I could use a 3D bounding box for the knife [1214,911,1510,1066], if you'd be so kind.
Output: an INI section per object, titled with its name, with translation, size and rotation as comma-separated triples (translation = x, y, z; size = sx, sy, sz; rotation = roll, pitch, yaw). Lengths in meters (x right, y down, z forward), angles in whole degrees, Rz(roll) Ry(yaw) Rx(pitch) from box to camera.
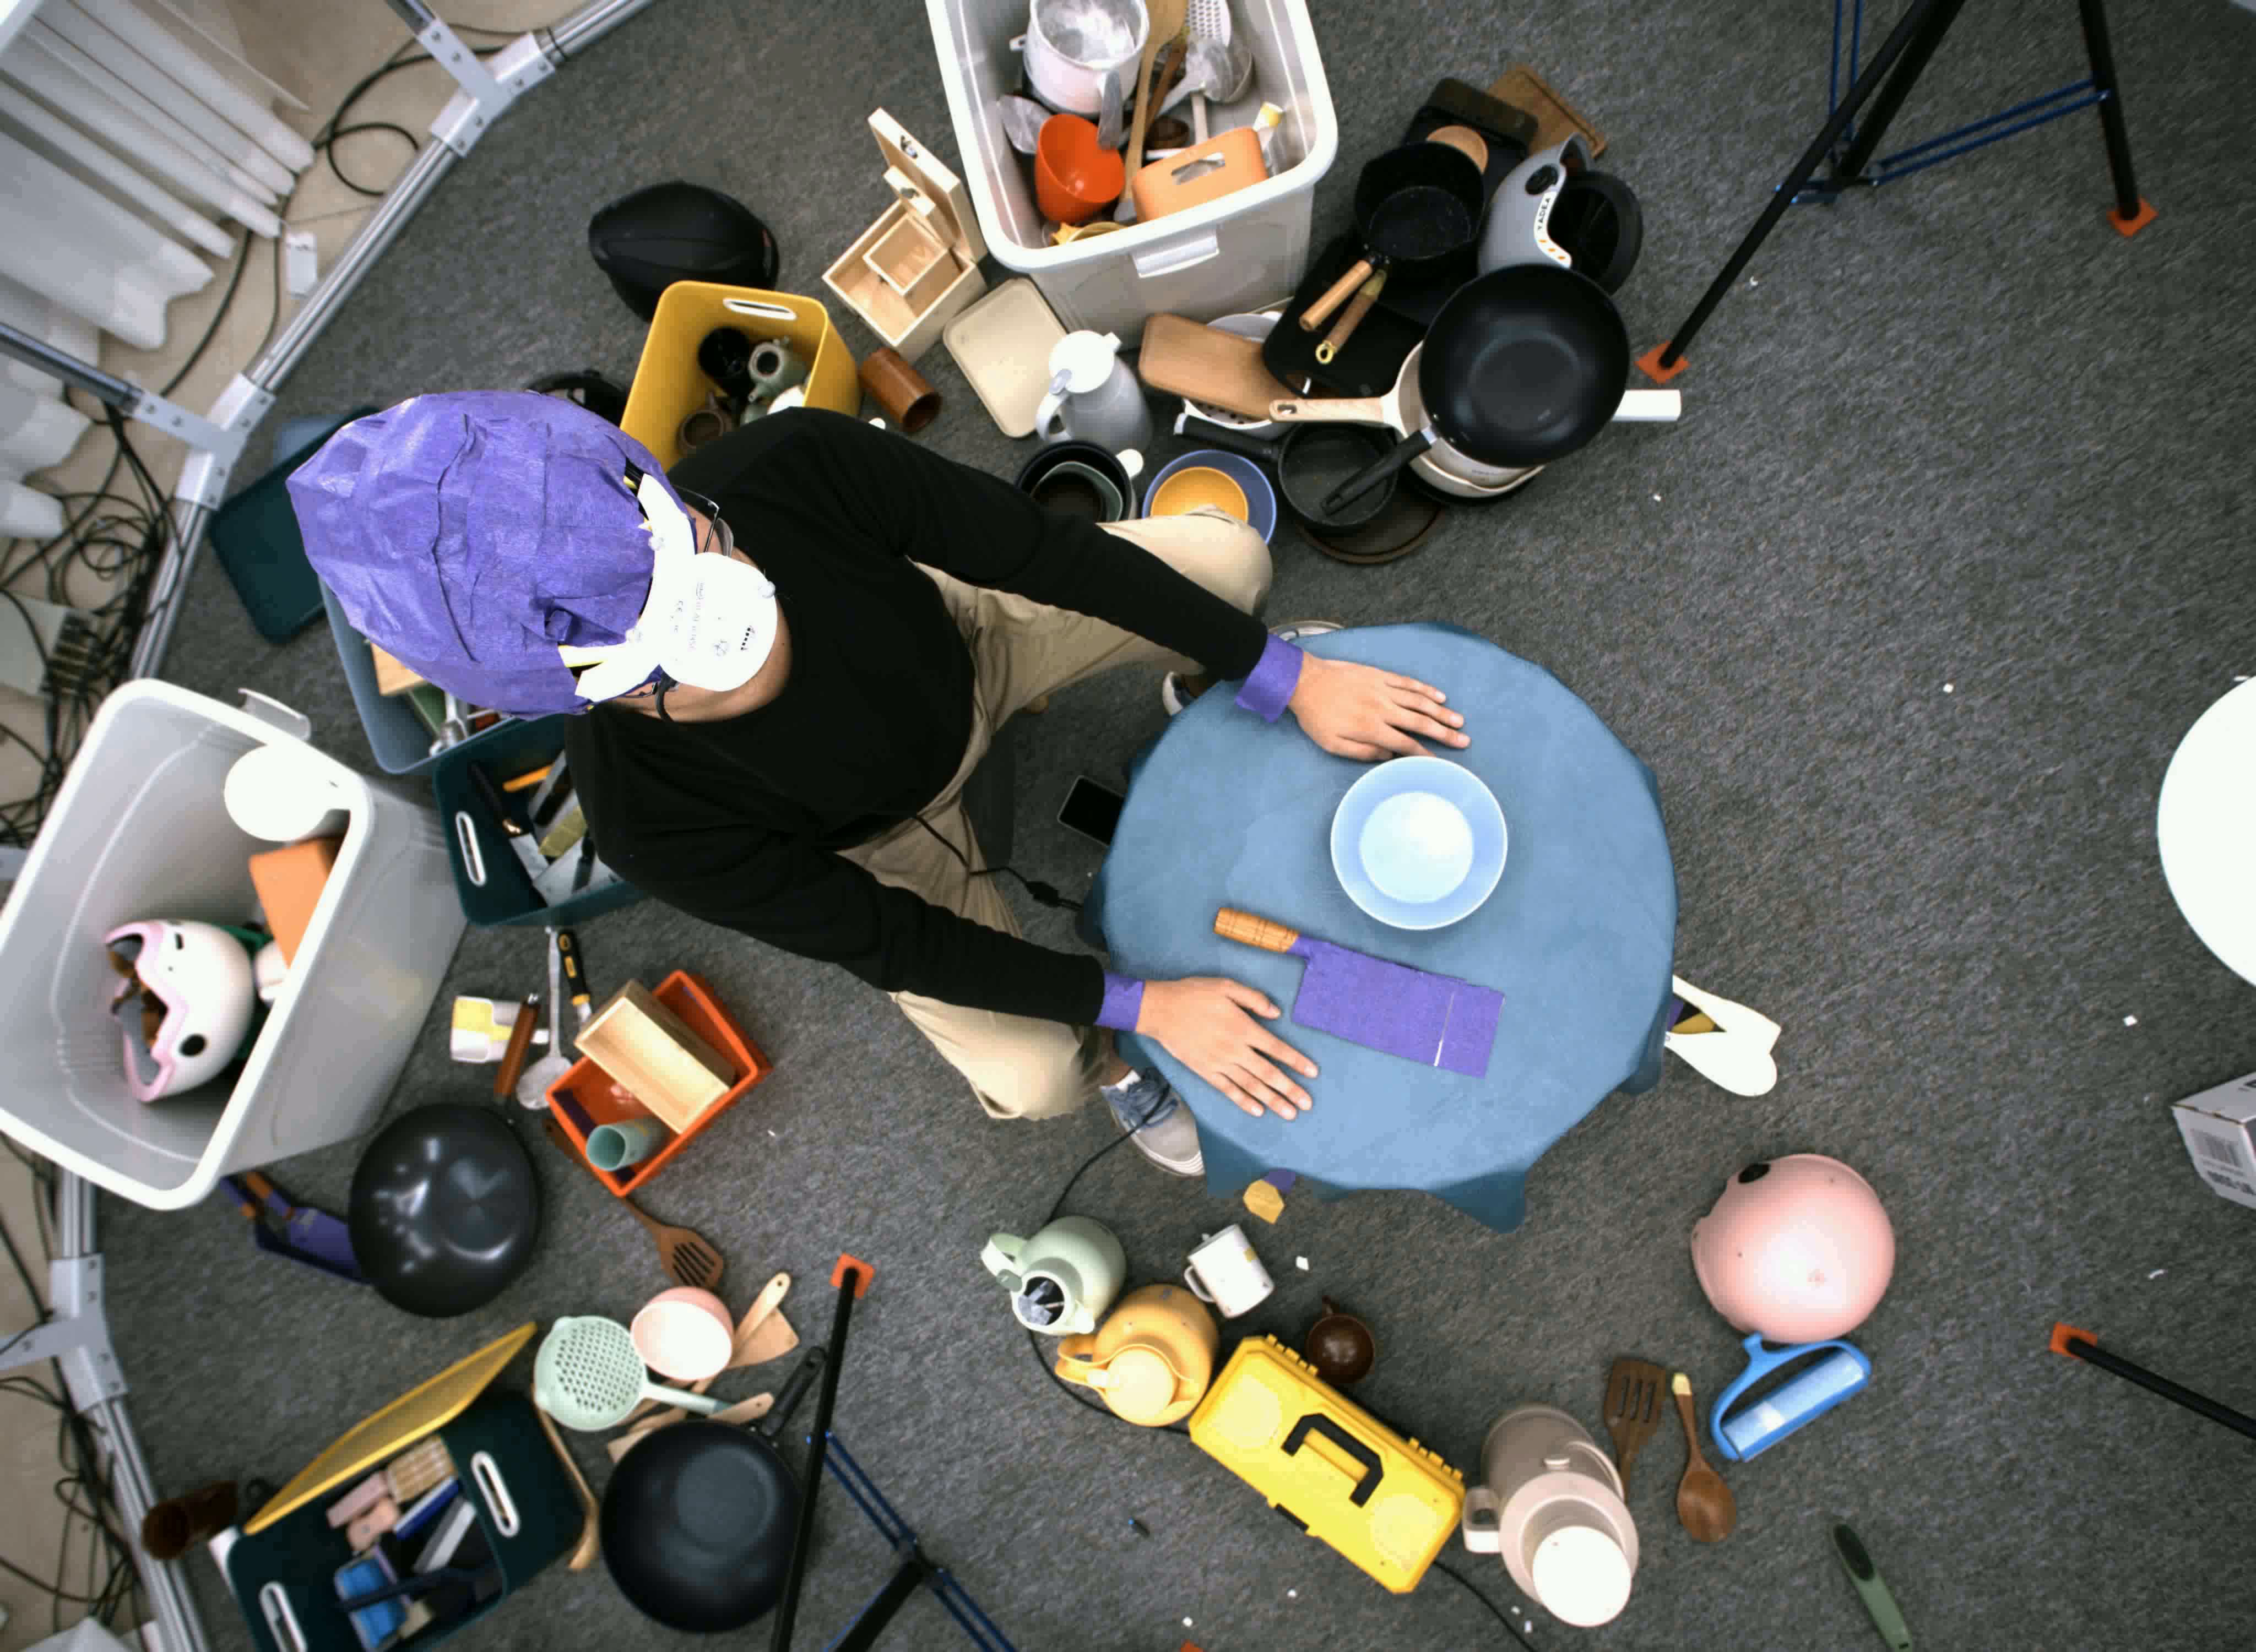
[knife]
translation = 0.235, 0.172, 1.450
size = 0.315, 0.032, 0.103
rotation = 15, 90, 11

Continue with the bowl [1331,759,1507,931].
[bowl]
translation = 0.299, 0.021, 1.422
size = 0.177, 0.070, 0.175
rotation = -1, 85, 11
